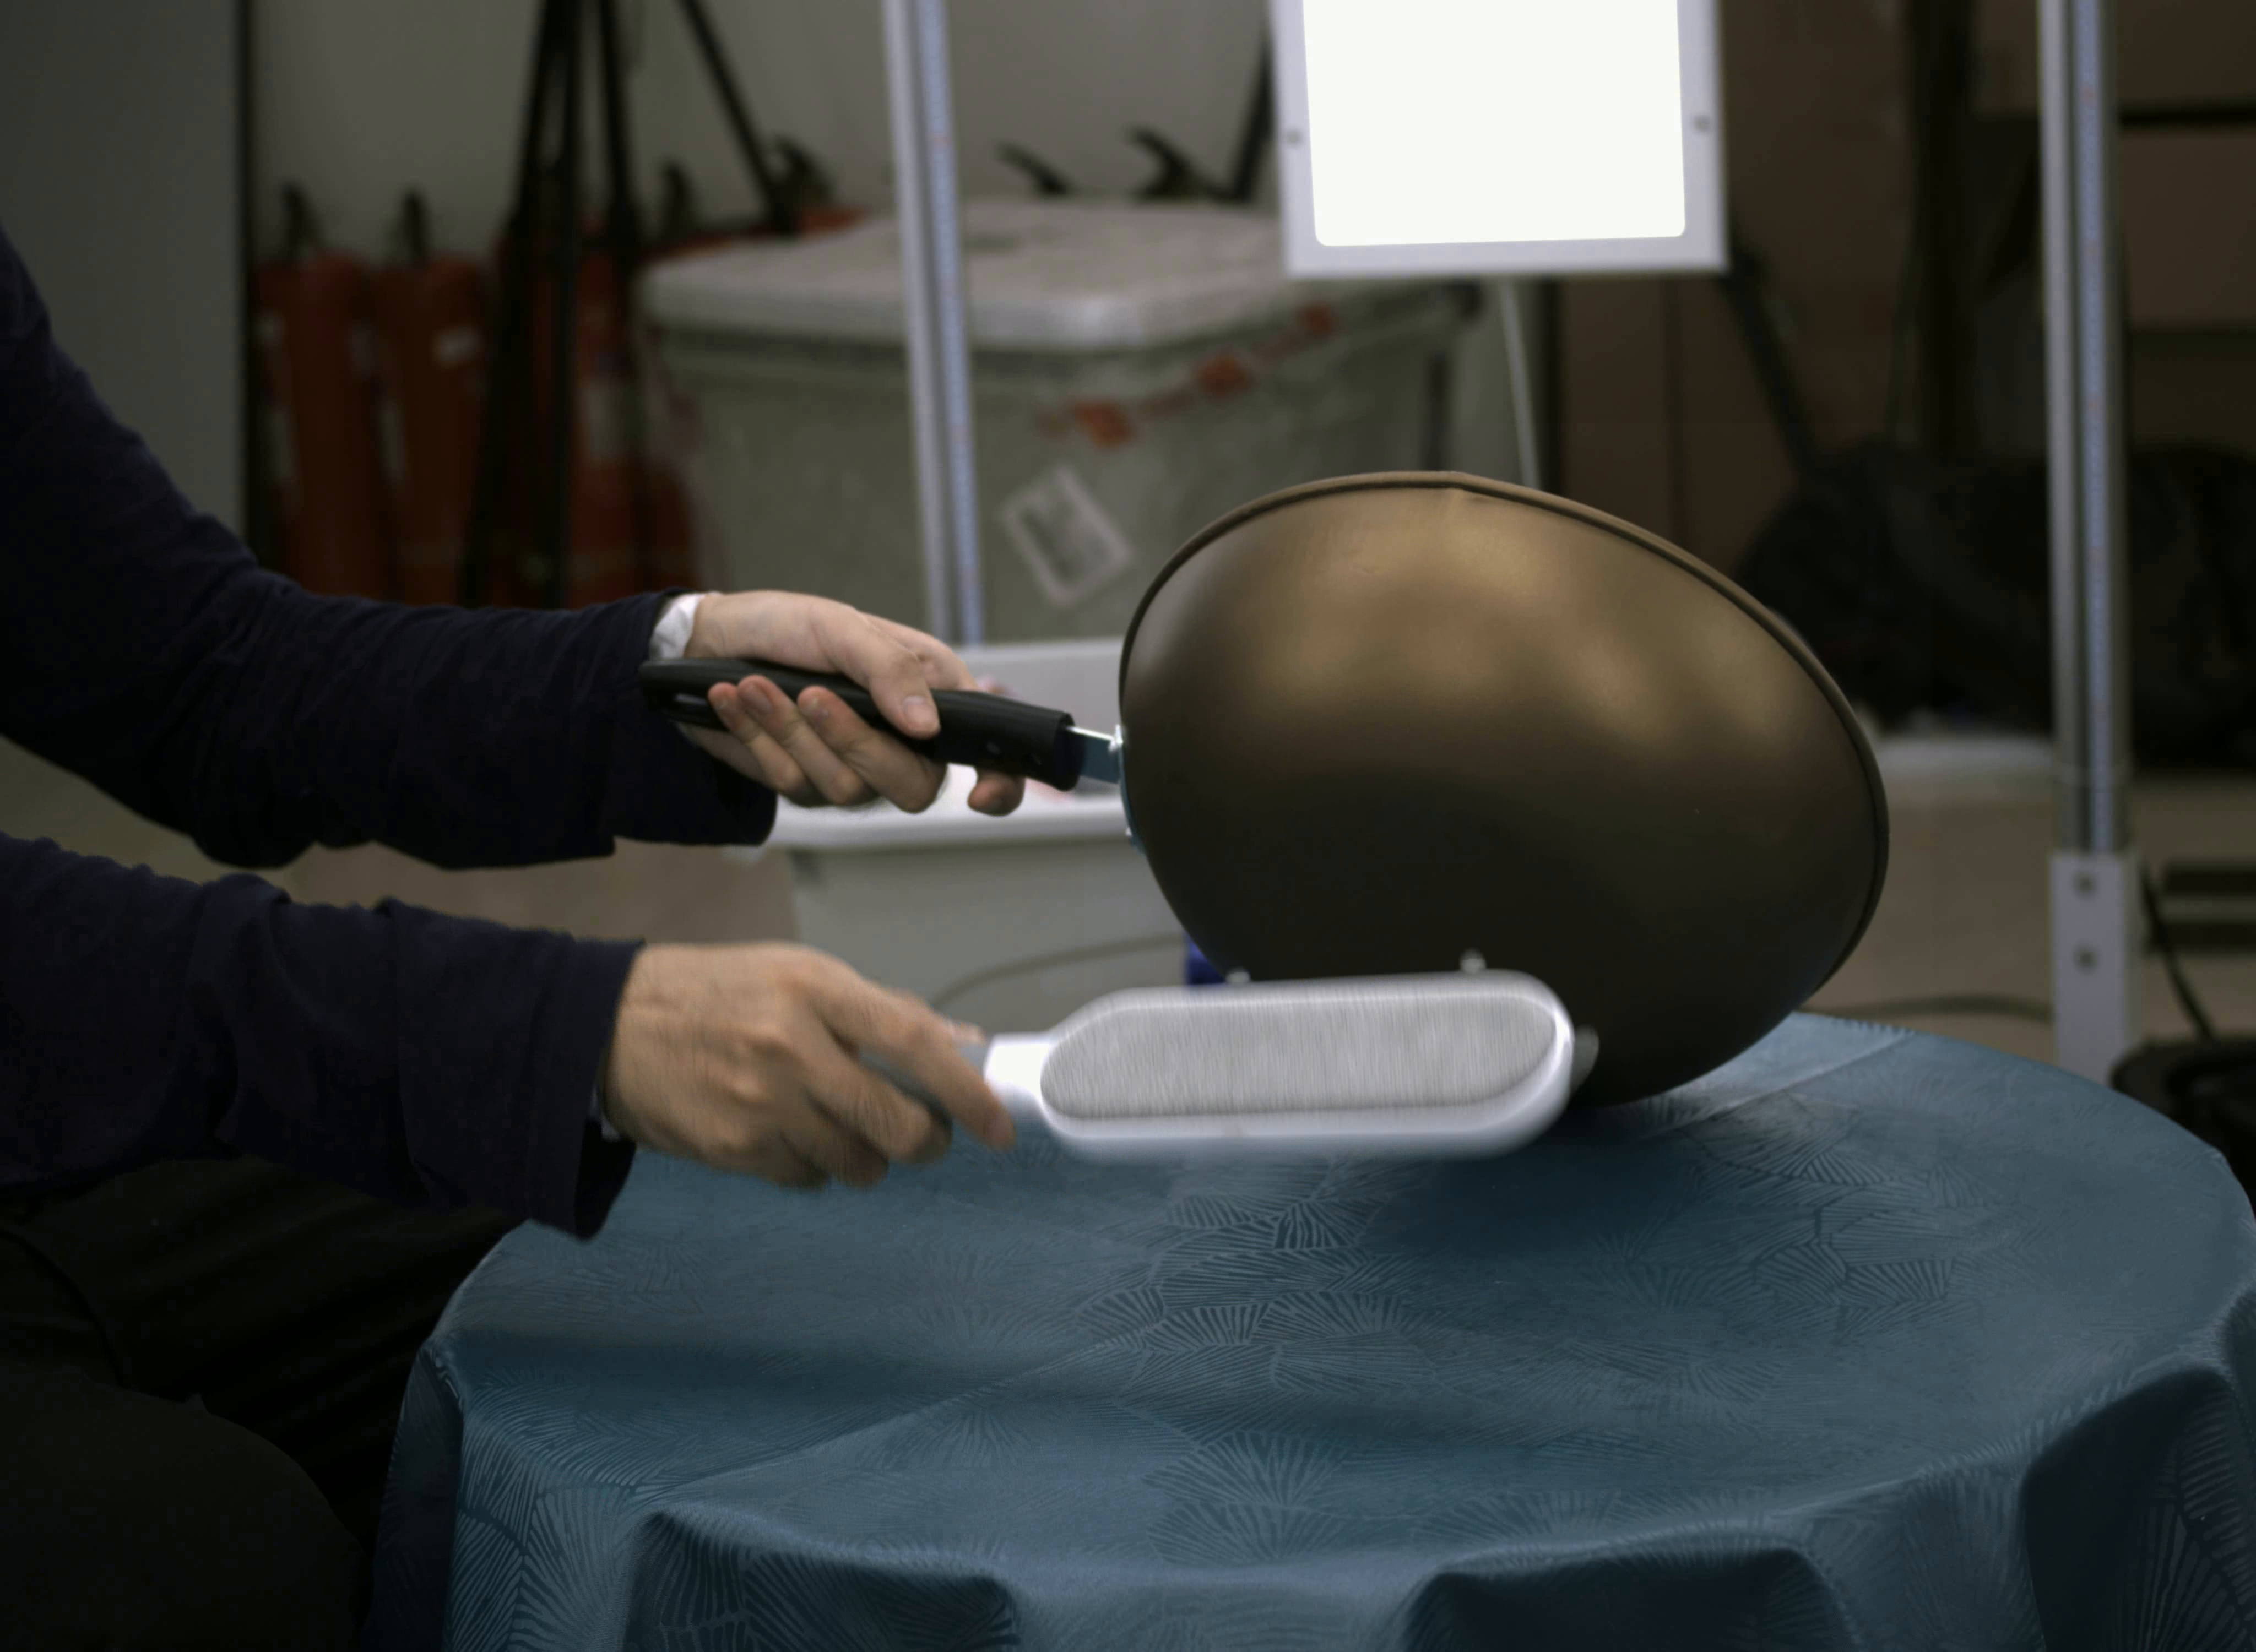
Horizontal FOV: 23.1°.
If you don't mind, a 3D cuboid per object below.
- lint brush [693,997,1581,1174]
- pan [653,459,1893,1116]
[{"bbox_3d":[-0.003,0.081,1.717,0.315,0.021,0.059,-2,53,30],"label":"lint brush"},{"bbox_3d":[0.032,-0.002,1.916,0.470,0.288,0.086,6,46,22],"label":"pan"}]
